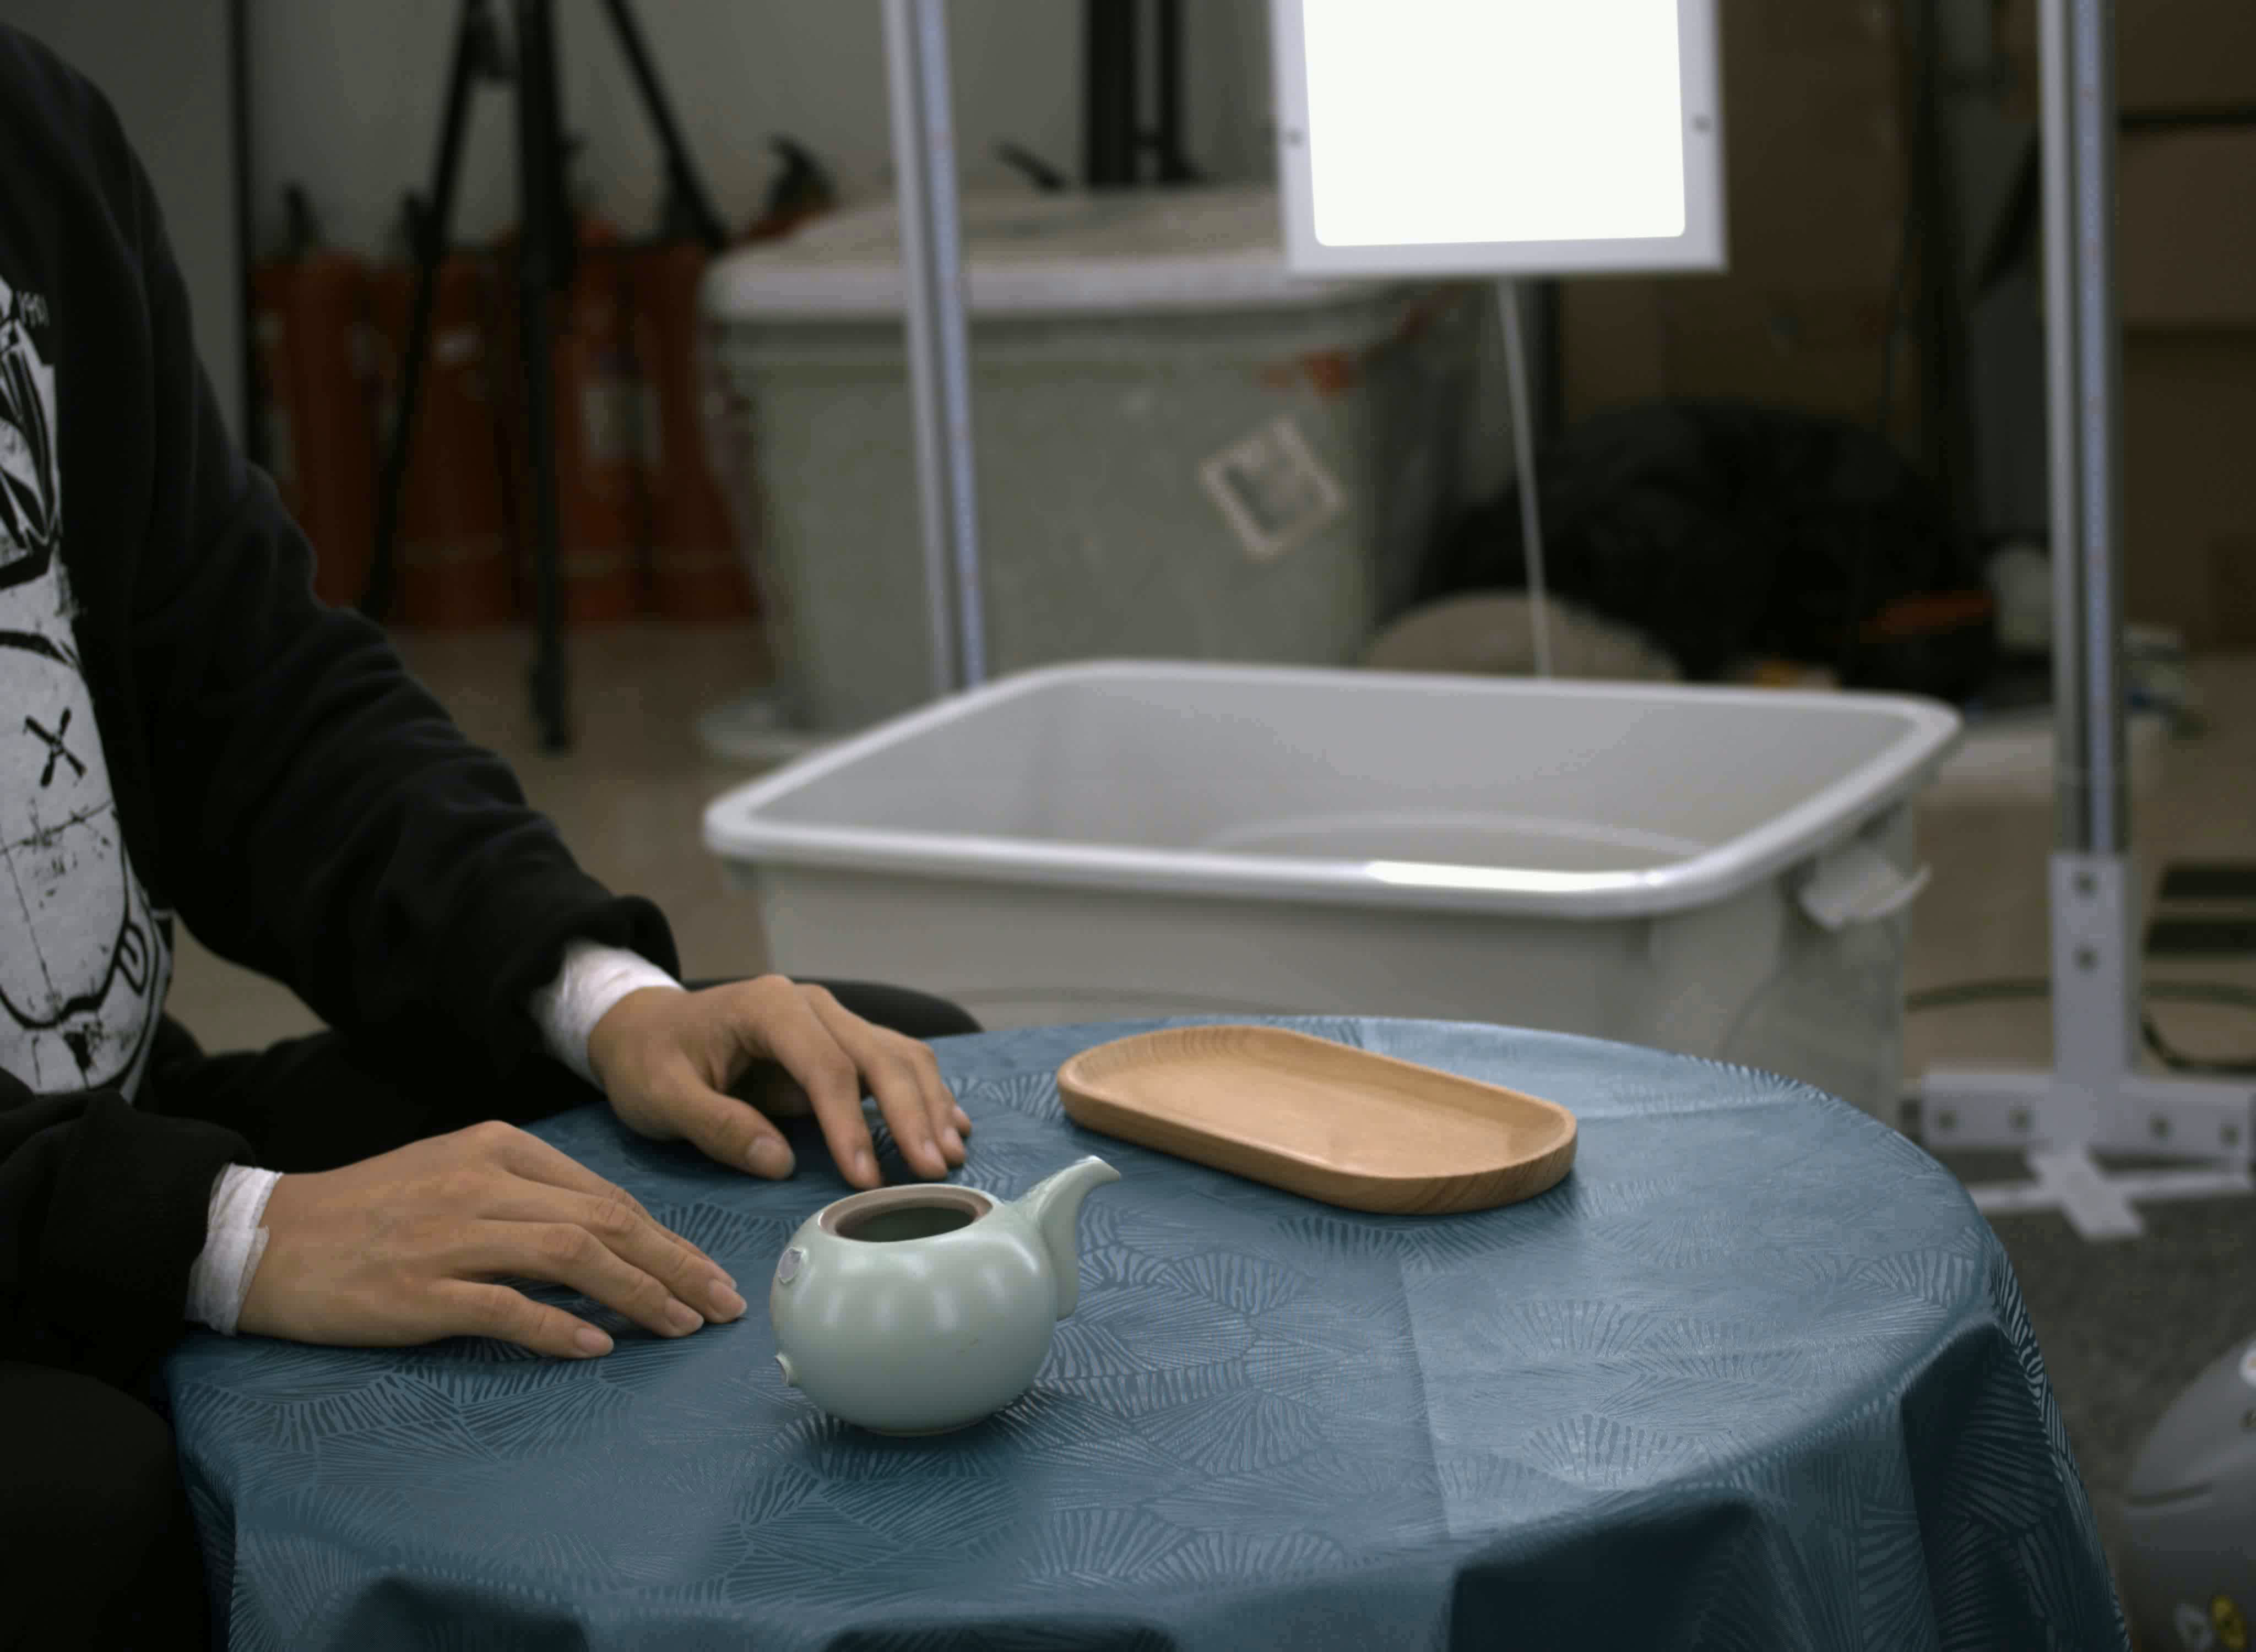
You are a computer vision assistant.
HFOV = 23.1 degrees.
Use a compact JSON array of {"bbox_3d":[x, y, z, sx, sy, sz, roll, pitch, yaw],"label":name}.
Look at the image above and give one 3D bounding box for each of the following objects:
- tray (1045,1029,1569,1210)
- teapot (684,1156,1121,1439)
[{"bbox_3d":[0.062,0.103,1.942,0.099,0.020,0.236,-13,14,-35],"label":"tray"},{"bbox_3d":[-0.067,0.147,1.690,0.141,0.075,0.089,-8,14,-18],"label":"teapot"}]
